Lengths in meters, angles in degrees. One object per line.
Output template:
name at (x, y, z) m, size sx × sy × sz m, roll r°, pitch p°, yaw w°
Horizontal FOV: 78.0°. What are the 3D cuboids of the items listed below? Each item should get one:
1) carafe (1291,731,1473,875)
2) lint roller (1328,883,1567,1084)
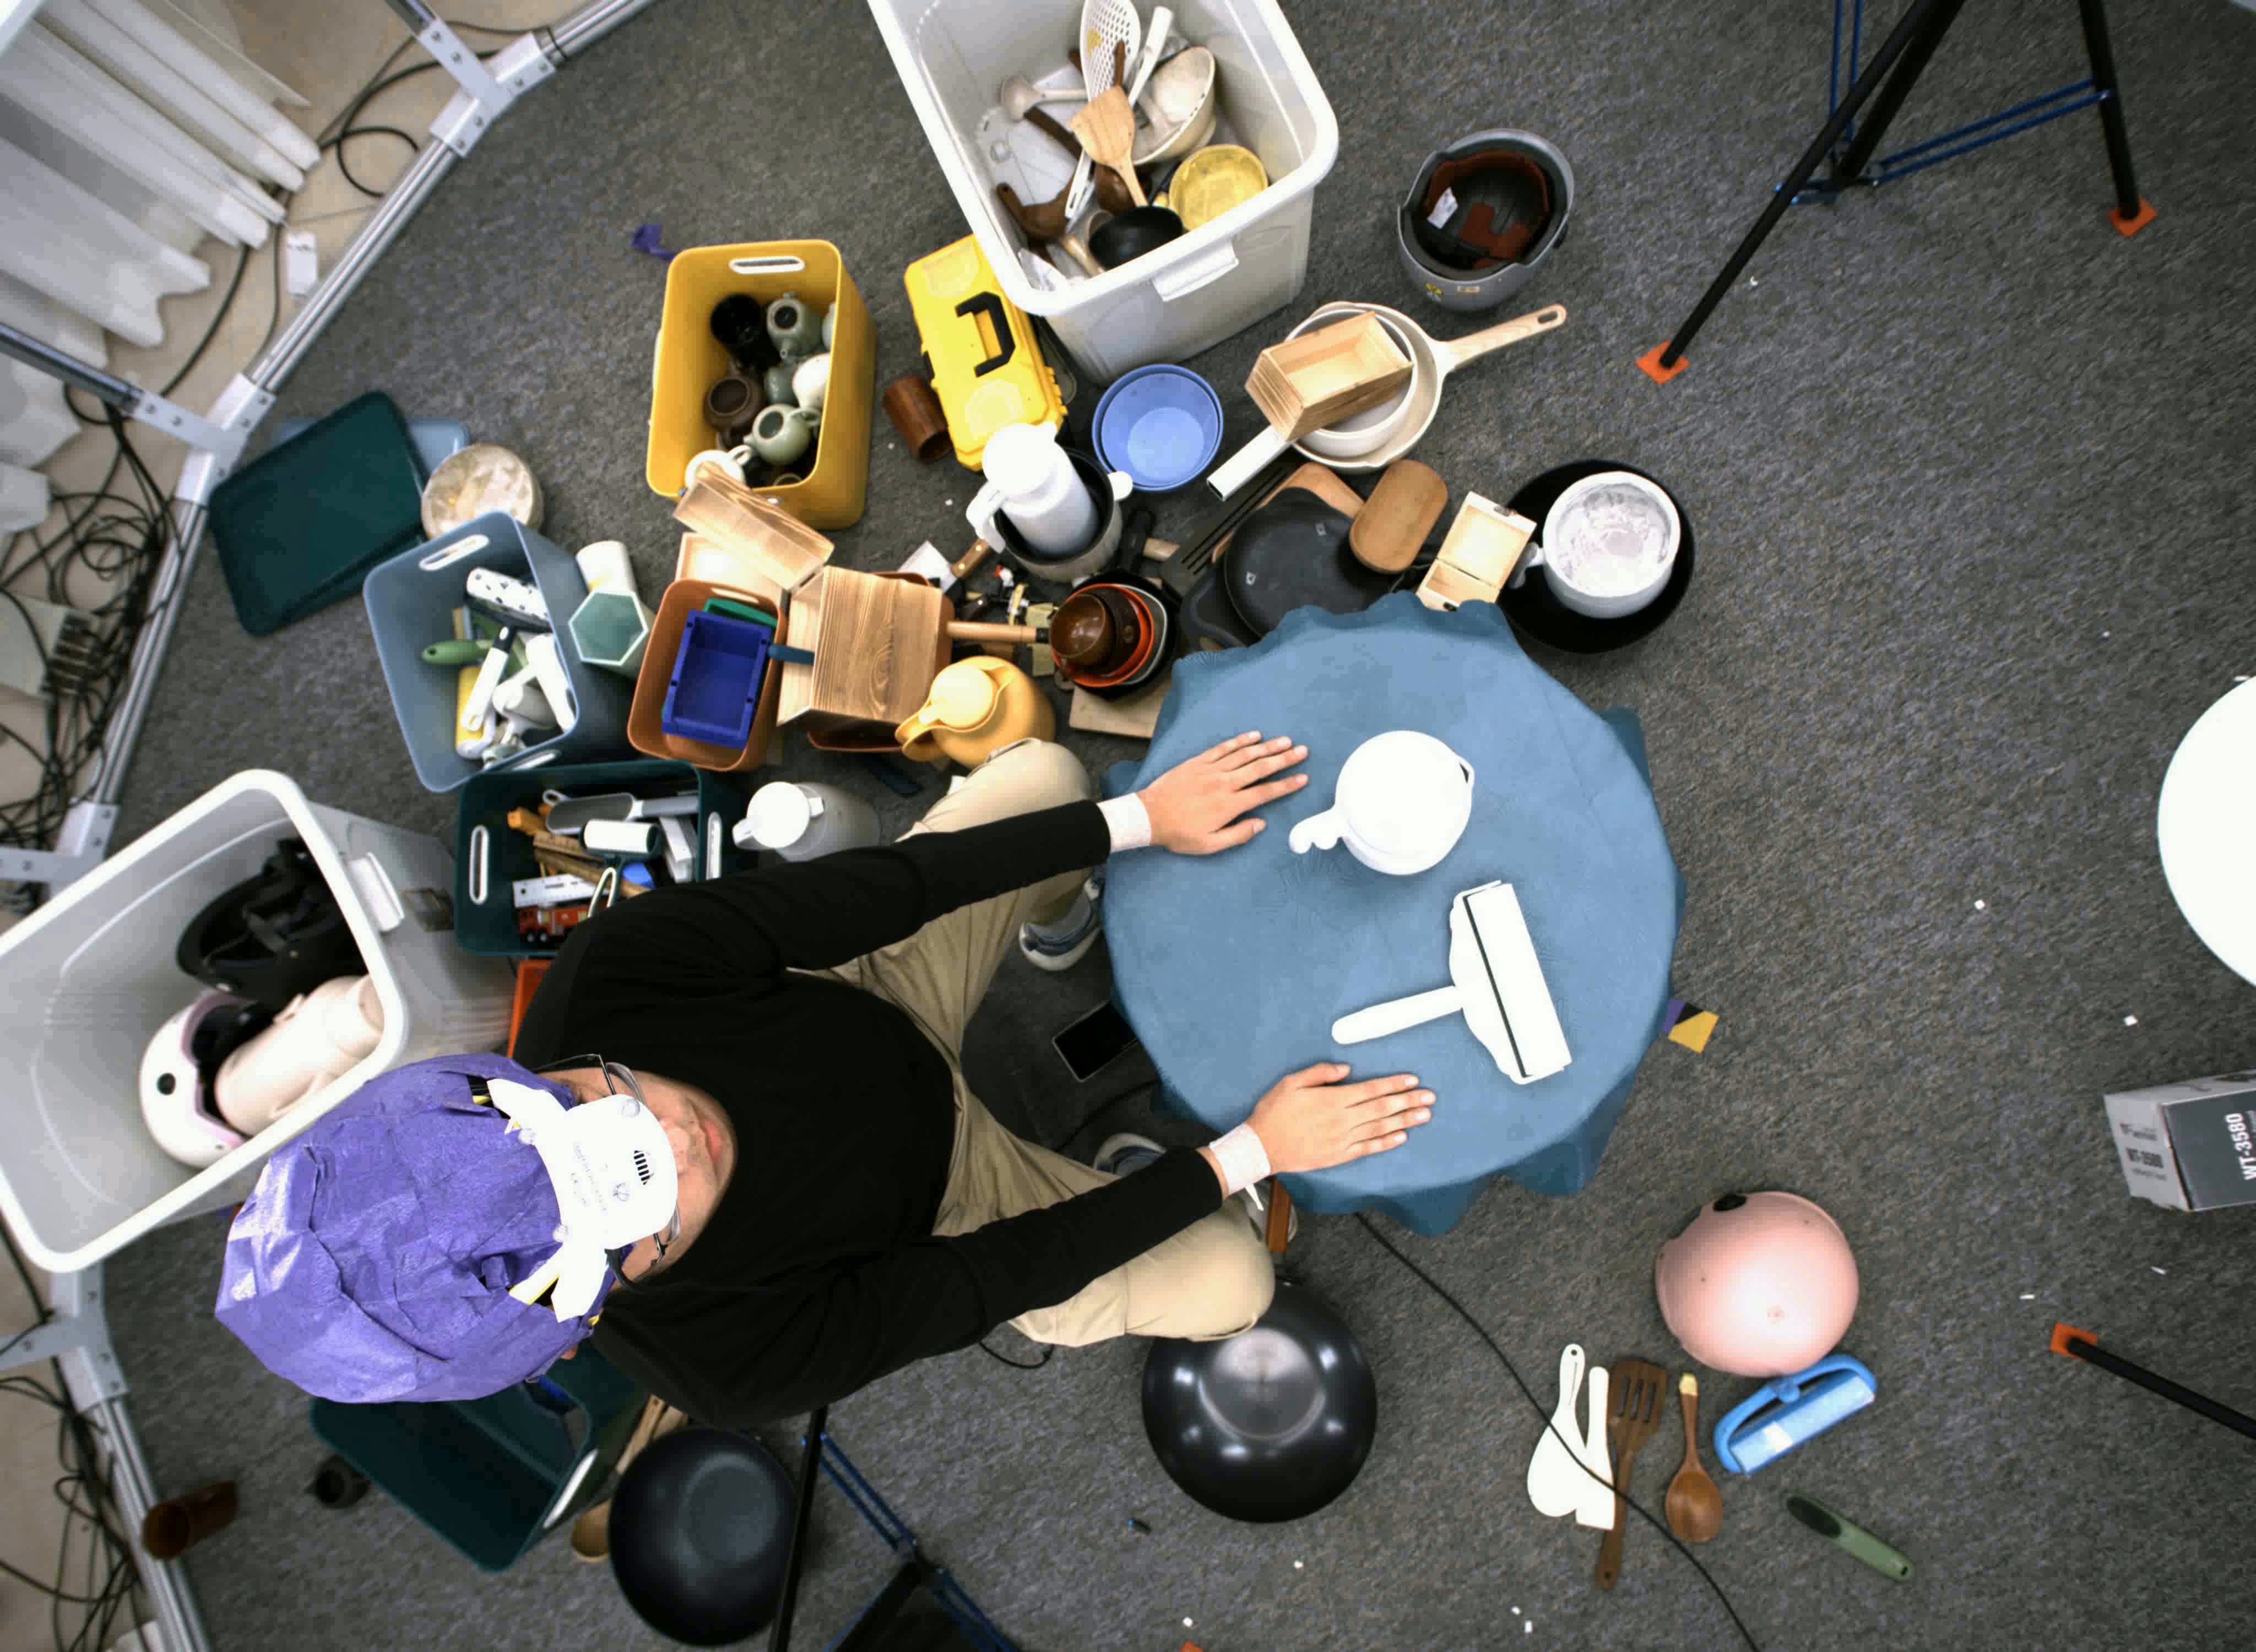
carafe at (0.251, -0.014, 1.381) m, size 0.192 × 0.182 × 0.131 m, roll -22°, pitch 81°, yaw 10°
lint roller at (0.314, 0.183, 1.424) m, size 0.227 × 0.048 × 0.202 m, roll -19°, pitch 85°, yaw 10°
